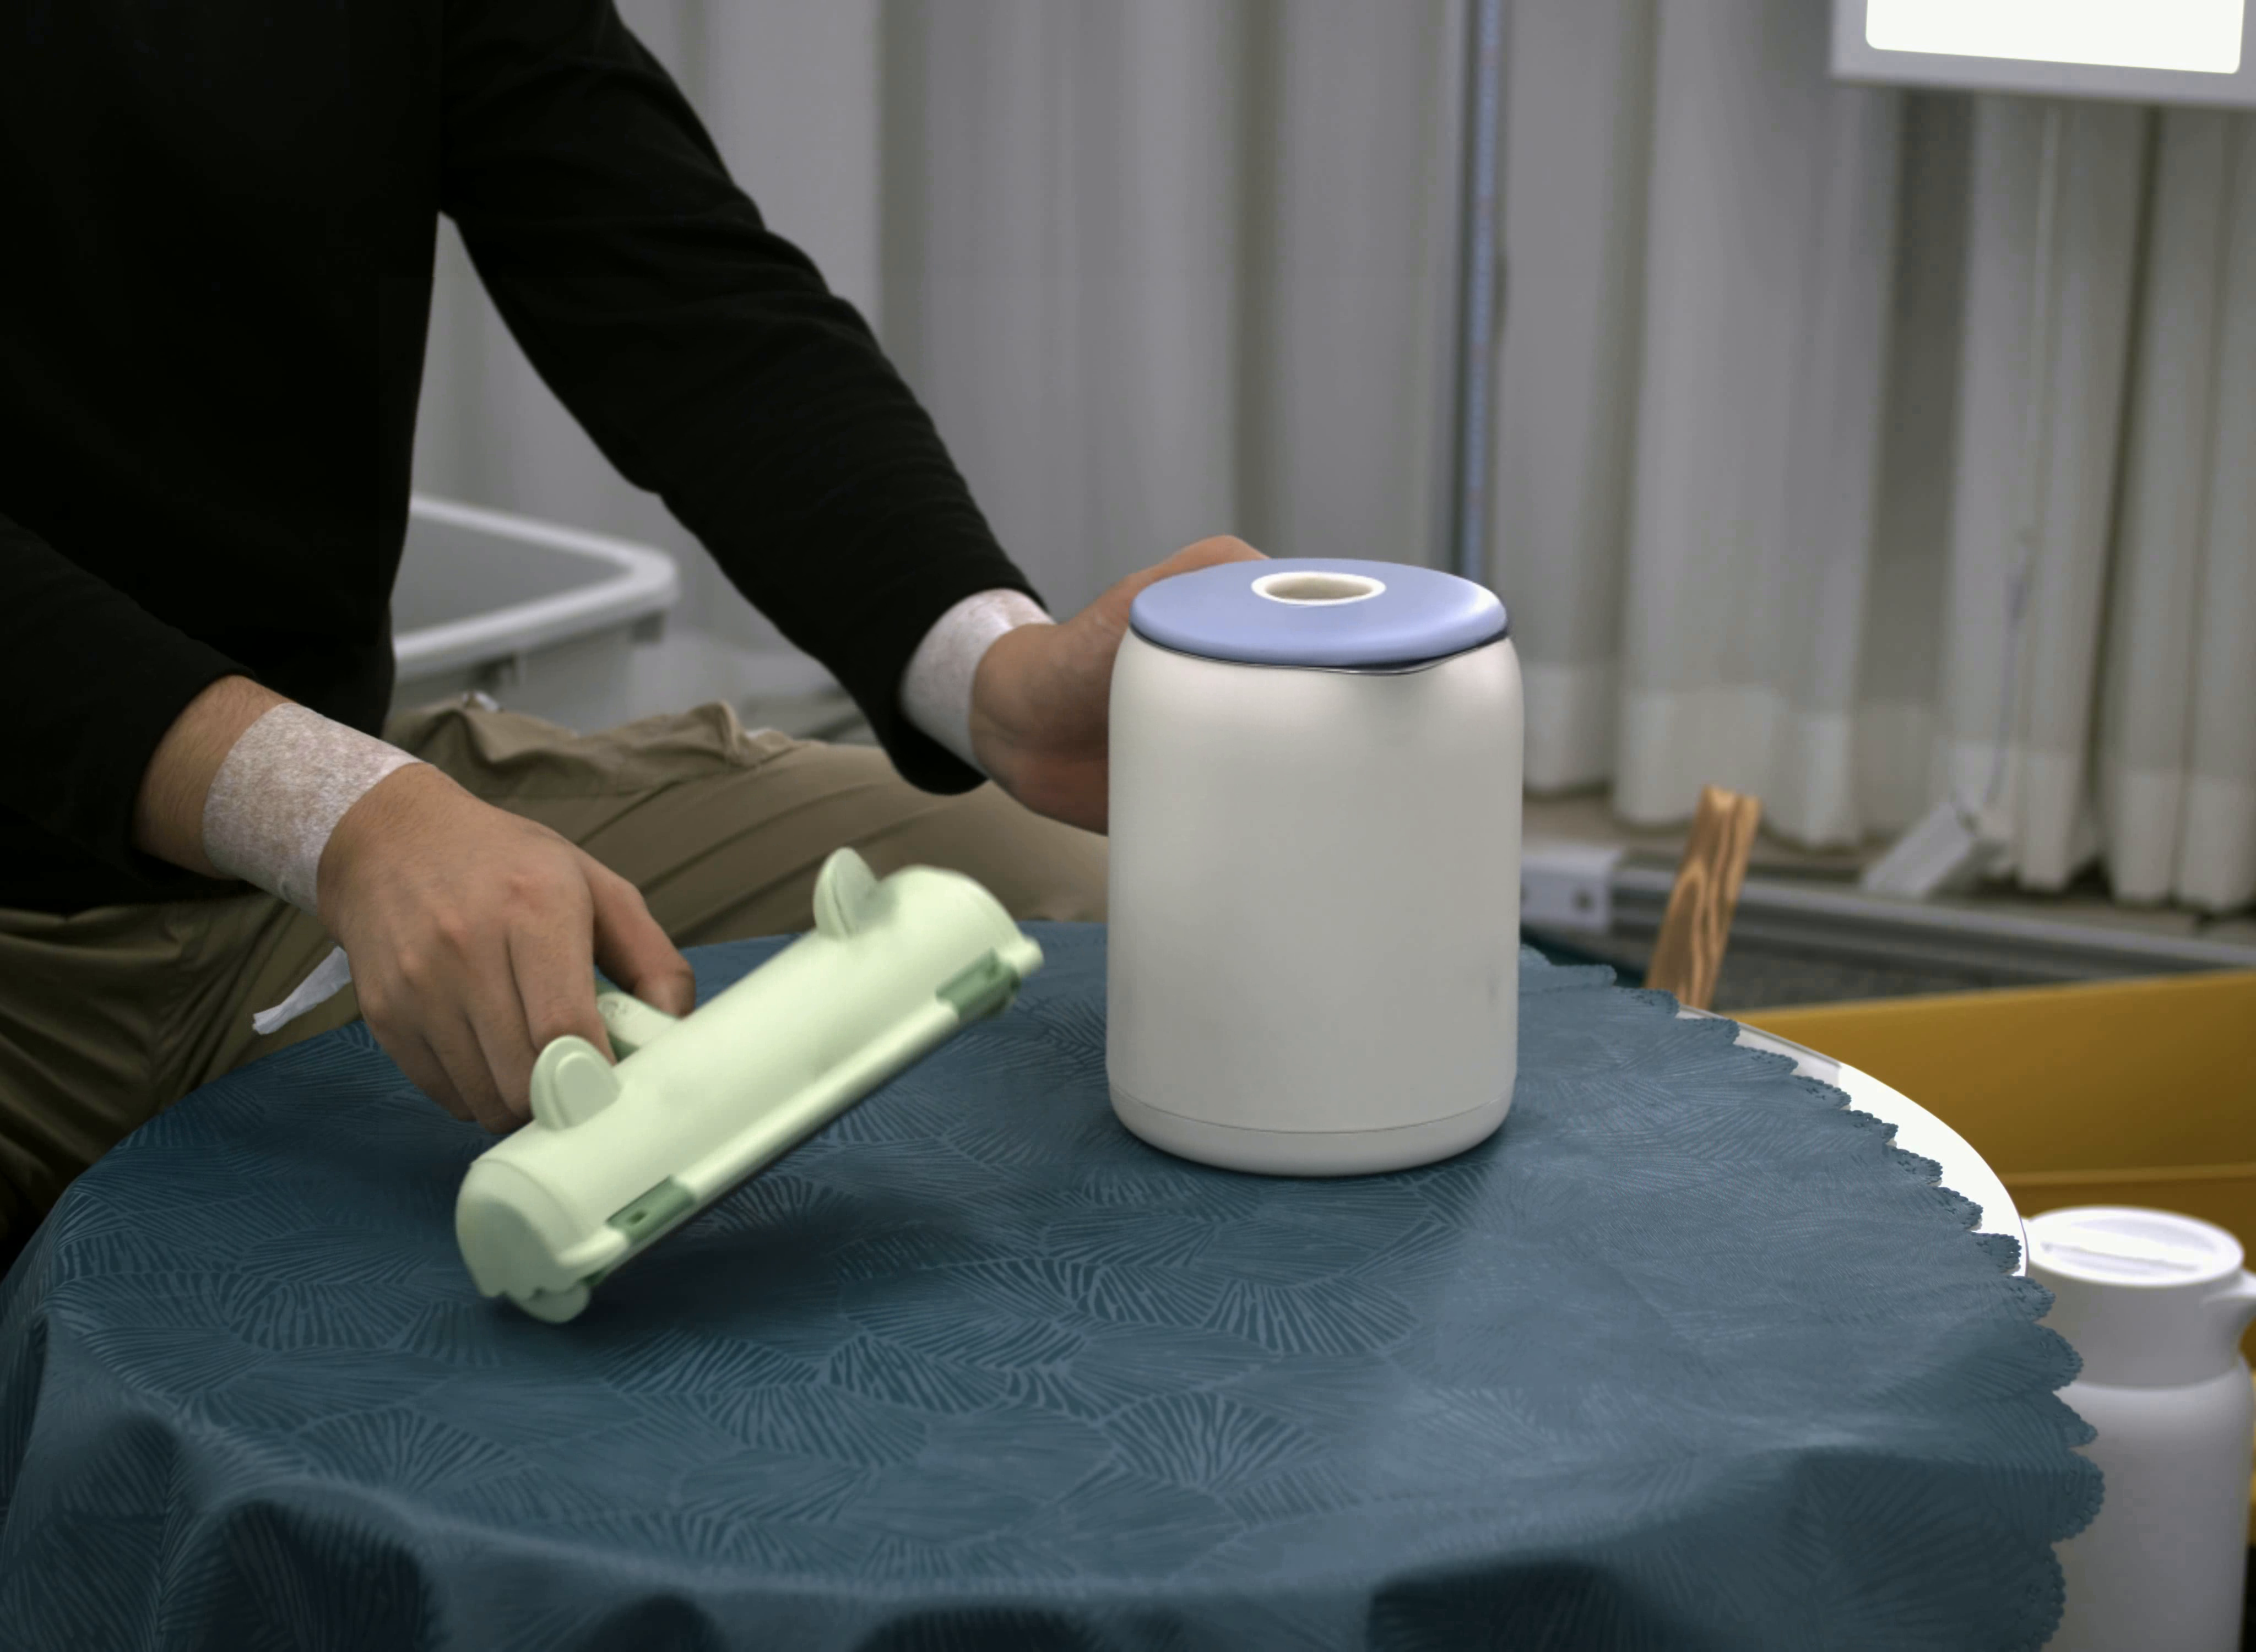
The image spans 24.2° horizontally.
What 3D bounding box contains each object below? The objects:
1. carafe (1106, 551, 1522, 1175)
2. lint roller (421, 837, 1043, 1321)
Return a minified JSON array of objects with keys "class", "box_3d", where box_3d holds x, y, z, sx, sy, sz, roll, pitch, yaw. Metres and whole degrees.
[{"class":"carafe","box_3d":[0.050,0.005,1.687,0.132,0.184,0.189,-5,15,-20]},{"class":"lint roller","box_3d":[-0.153,0.053,1.575,0.181,0.083,0.199,22,43,36]}]
